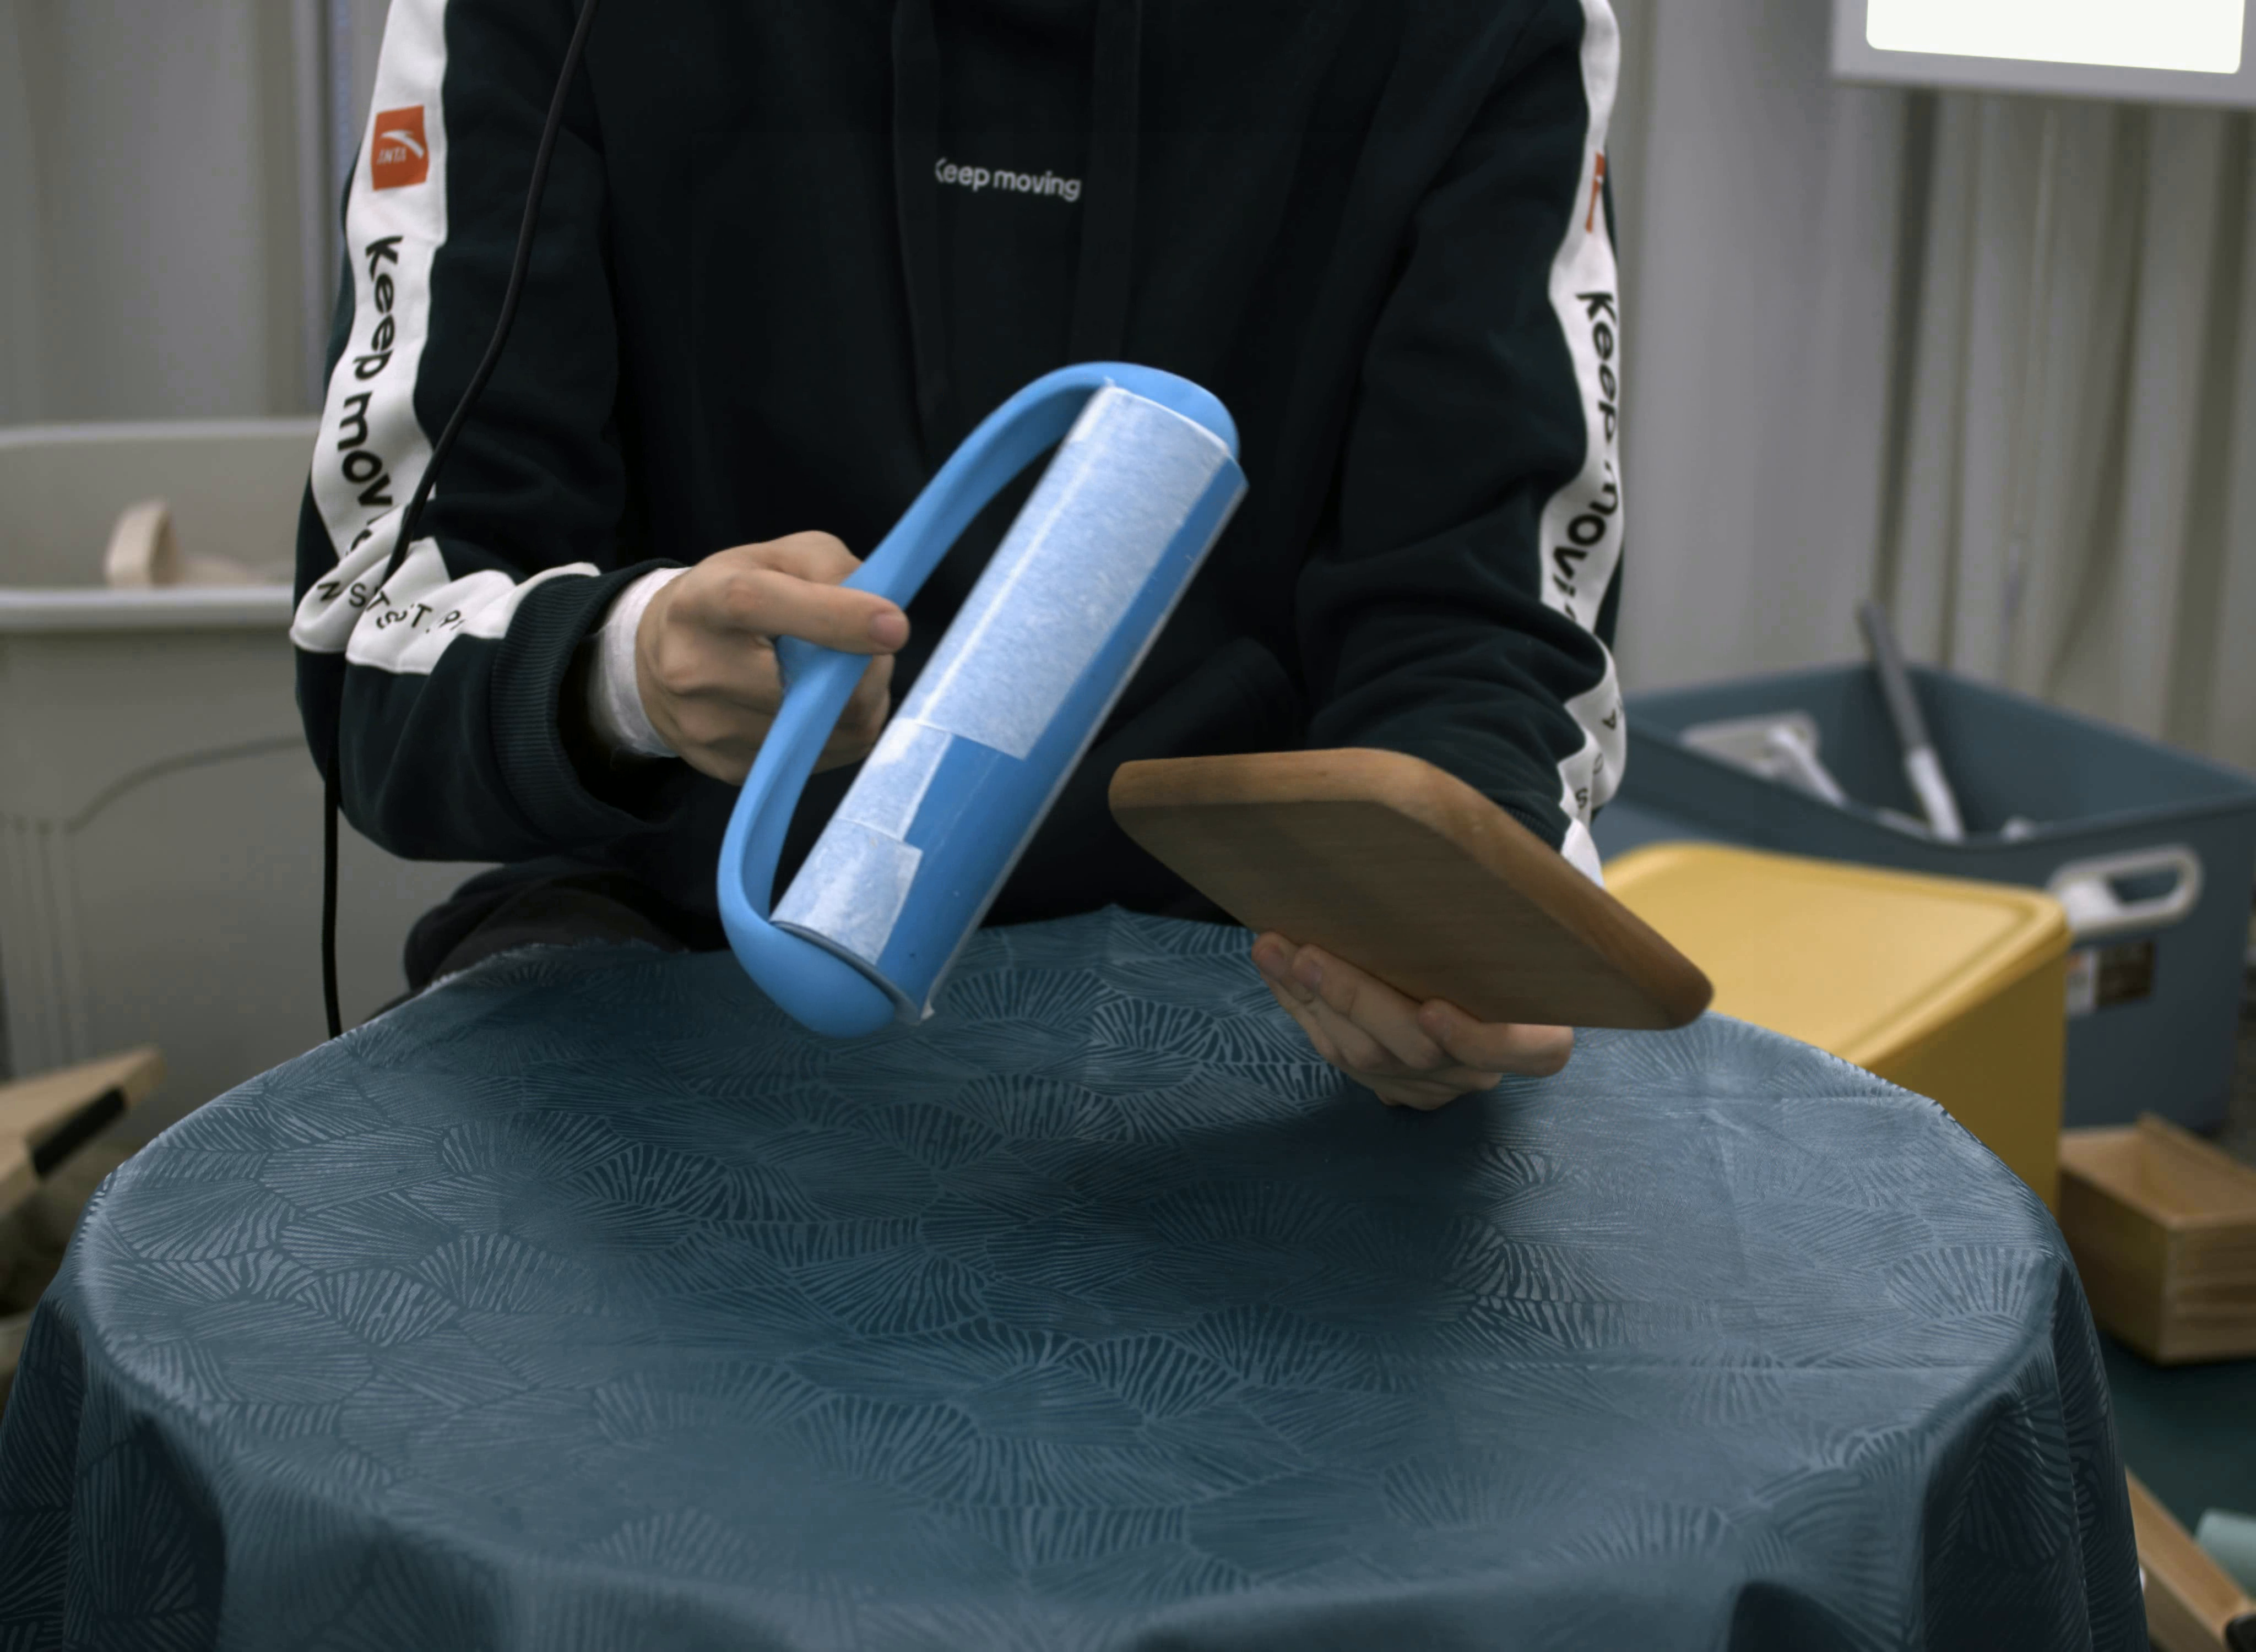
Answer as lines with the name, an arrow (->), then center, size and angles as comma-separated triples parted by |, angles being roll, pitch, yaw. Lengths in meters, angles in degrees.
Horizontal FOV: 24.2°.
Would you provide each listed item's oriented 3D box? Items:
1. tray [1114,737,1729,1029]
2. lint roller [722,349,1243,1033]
tray -> 0.081, 0.020, 1.573 | 0.131, 0.023, 0.249 | 40, -15, -16
lint roller -> -0.072, -0.044, 1.592 | 0.069, 0.228, 0.178 | 39, -20, -34
